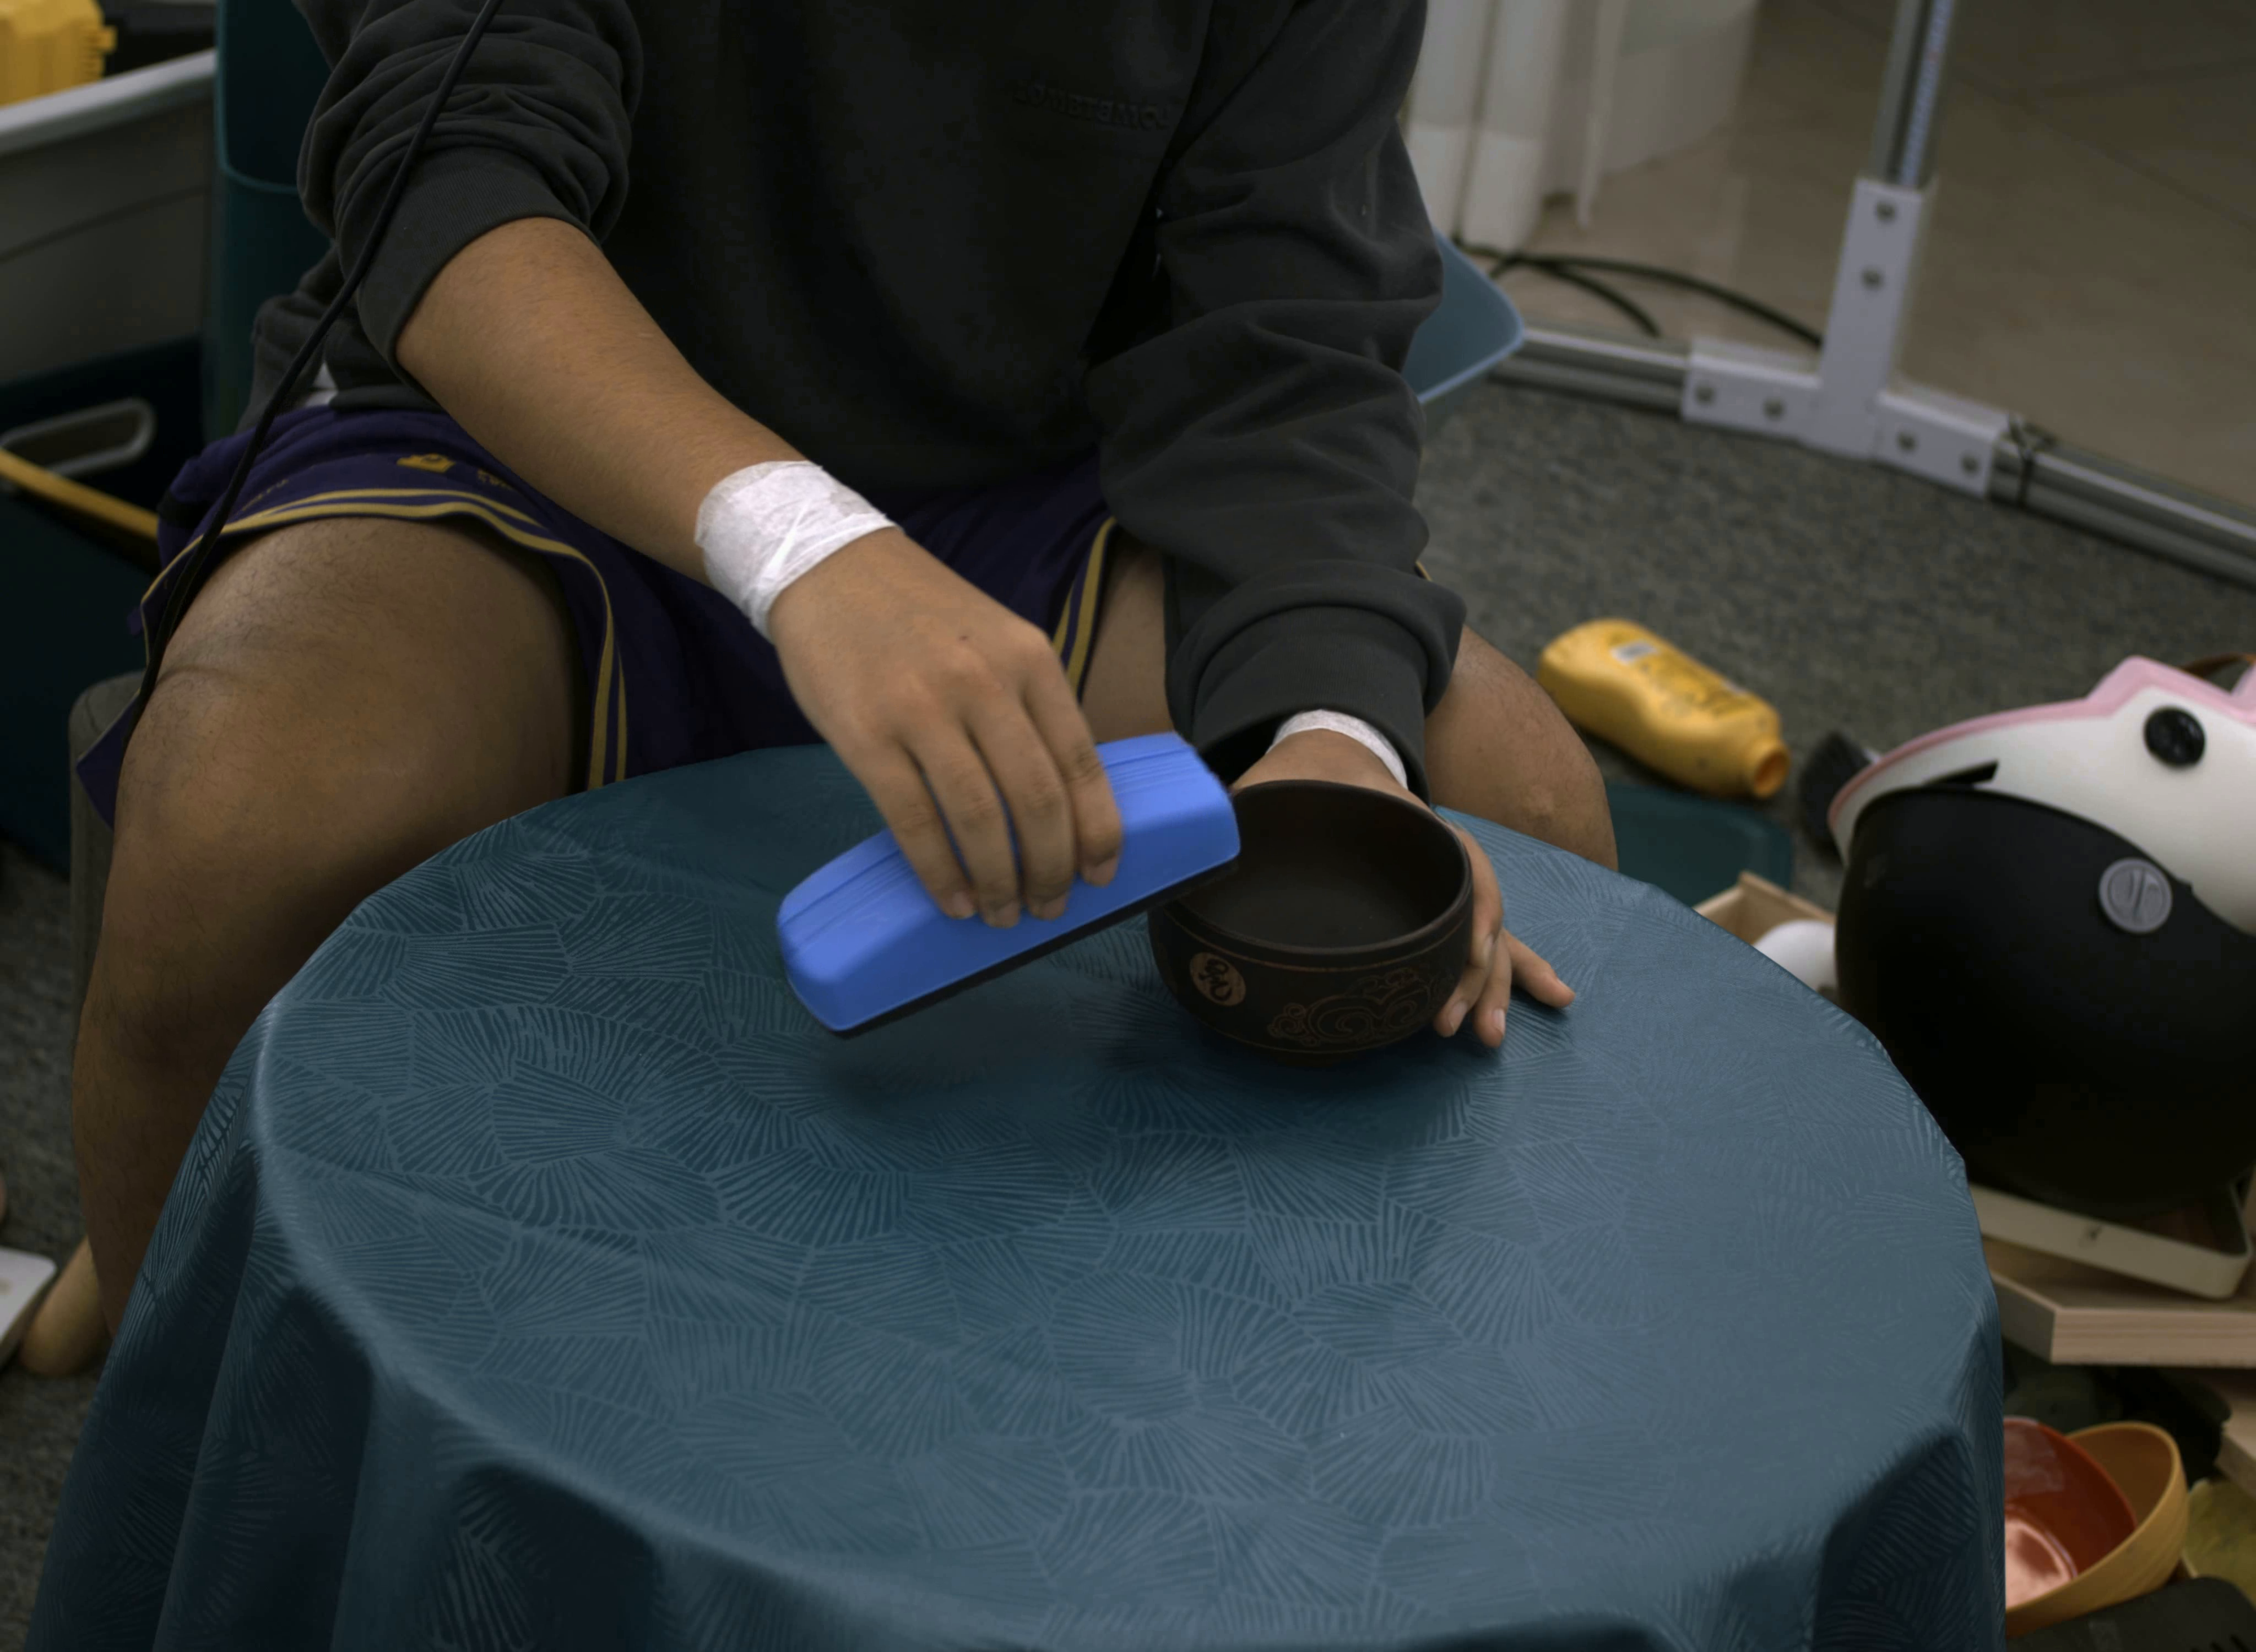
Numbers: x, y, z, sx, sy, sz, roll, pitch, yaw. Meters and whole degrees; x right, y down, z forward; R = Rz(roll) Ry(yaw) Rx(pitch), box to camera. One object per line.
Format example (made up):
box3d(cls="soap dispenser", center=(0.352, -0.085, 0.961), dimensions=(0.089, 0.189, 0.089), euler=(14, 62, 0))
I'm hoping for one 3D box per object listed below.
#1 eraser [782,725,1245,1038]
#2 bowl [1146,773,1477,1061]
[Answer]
box3d(cls="eraser", center=(-0.040, 0.014, 1.831), dimensions=(0.162, 0.047, 0.054), euler=(-25, 43, -12))
box3d(cls="bowl", center=(0.065, 0.040, 1.893), dimensions=(0.117, 0.069, 0.119), euler=(0, 32, 0))
